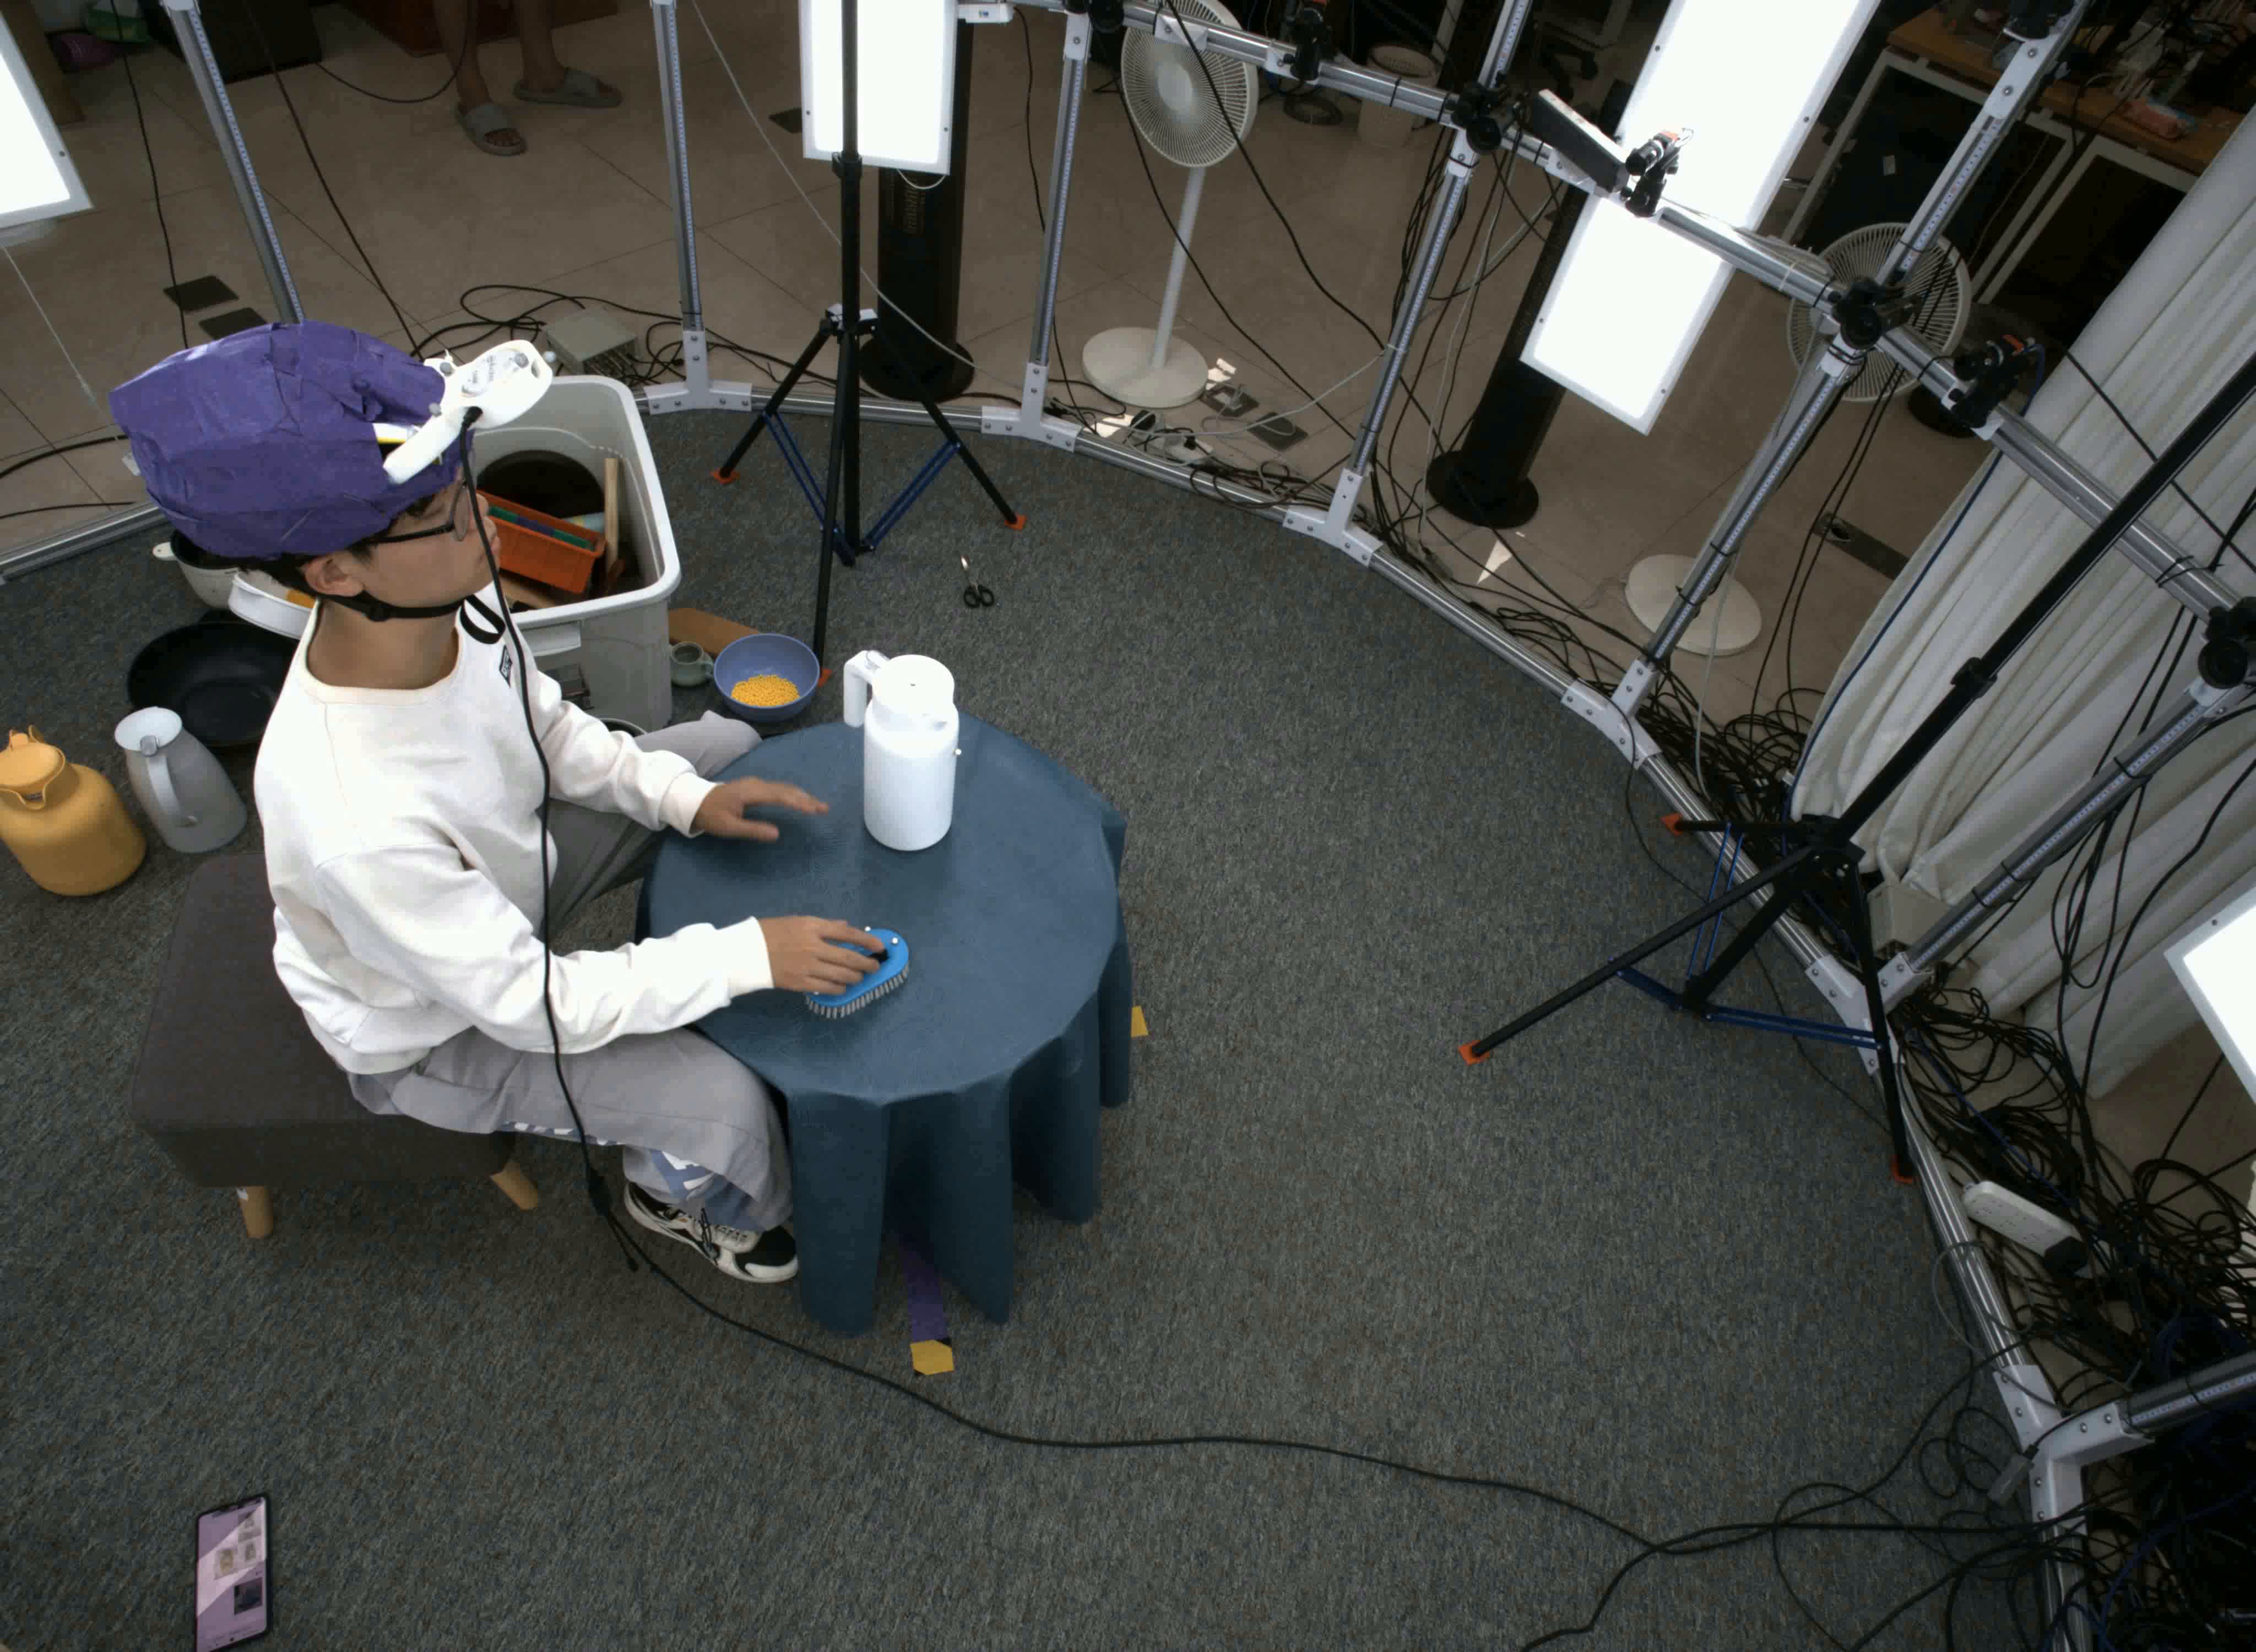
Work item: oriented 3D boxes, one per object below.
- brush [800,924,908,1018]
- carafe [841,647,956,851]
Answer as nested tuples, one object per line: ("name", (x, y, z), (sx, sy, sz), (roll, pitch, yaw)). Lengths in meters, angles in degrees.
("brush", (-0.333, 0.169, 1.588), (0.142, 0.065, 0.083), (-29, 69, -28))
("carafe", (-0.296, -0.101, 1.669), (0.169, 0.275, 0.124), (33, 56, 15))
